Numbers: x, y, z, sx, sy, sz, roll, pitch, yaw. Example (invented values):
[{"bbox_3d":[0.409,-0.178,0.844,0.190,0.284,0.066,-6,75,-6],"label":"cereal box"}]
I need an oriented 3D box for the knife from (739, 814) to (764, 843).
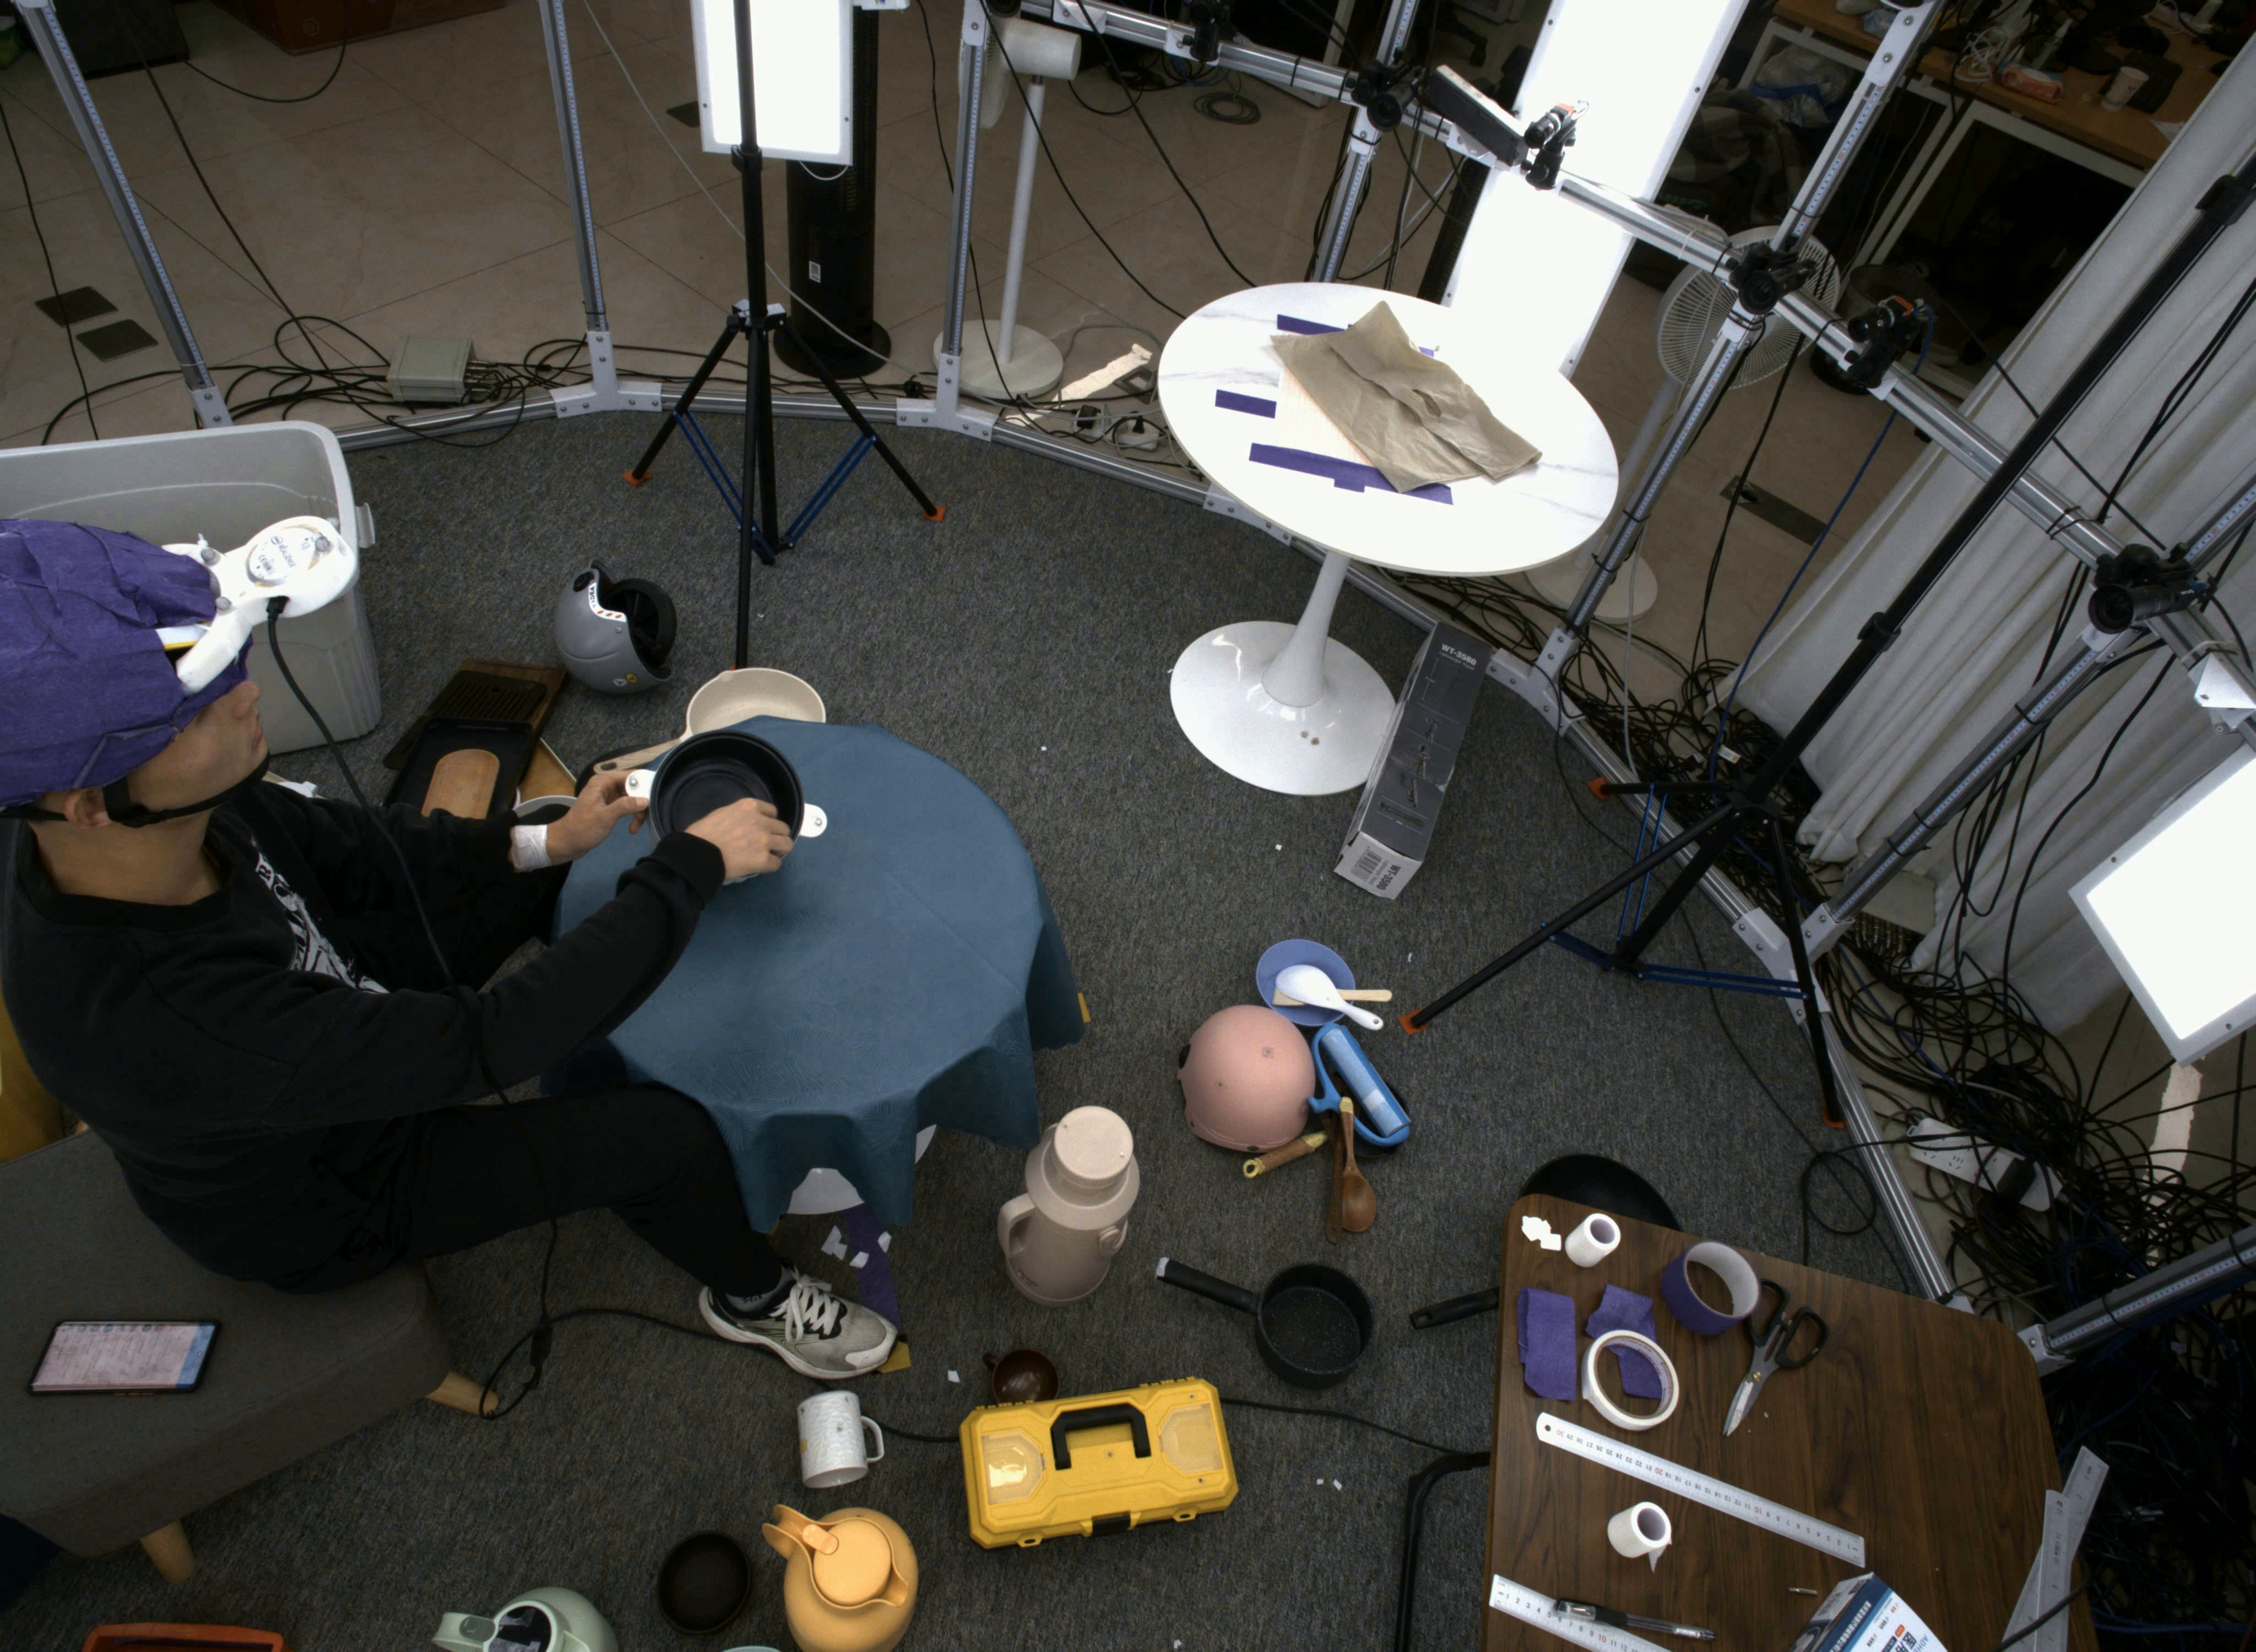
[{"bbox_3d":[-0.435,0.000,1.506,0.017,0.222,0.027,-35,100,-7],"label":"knife"}]

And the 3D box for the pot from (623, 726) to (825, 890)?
[{"bbox_3d":[-0.504,-0.025,1.589,0.244,0.140,0.191,12,80,-26],"label":"pot"}]
